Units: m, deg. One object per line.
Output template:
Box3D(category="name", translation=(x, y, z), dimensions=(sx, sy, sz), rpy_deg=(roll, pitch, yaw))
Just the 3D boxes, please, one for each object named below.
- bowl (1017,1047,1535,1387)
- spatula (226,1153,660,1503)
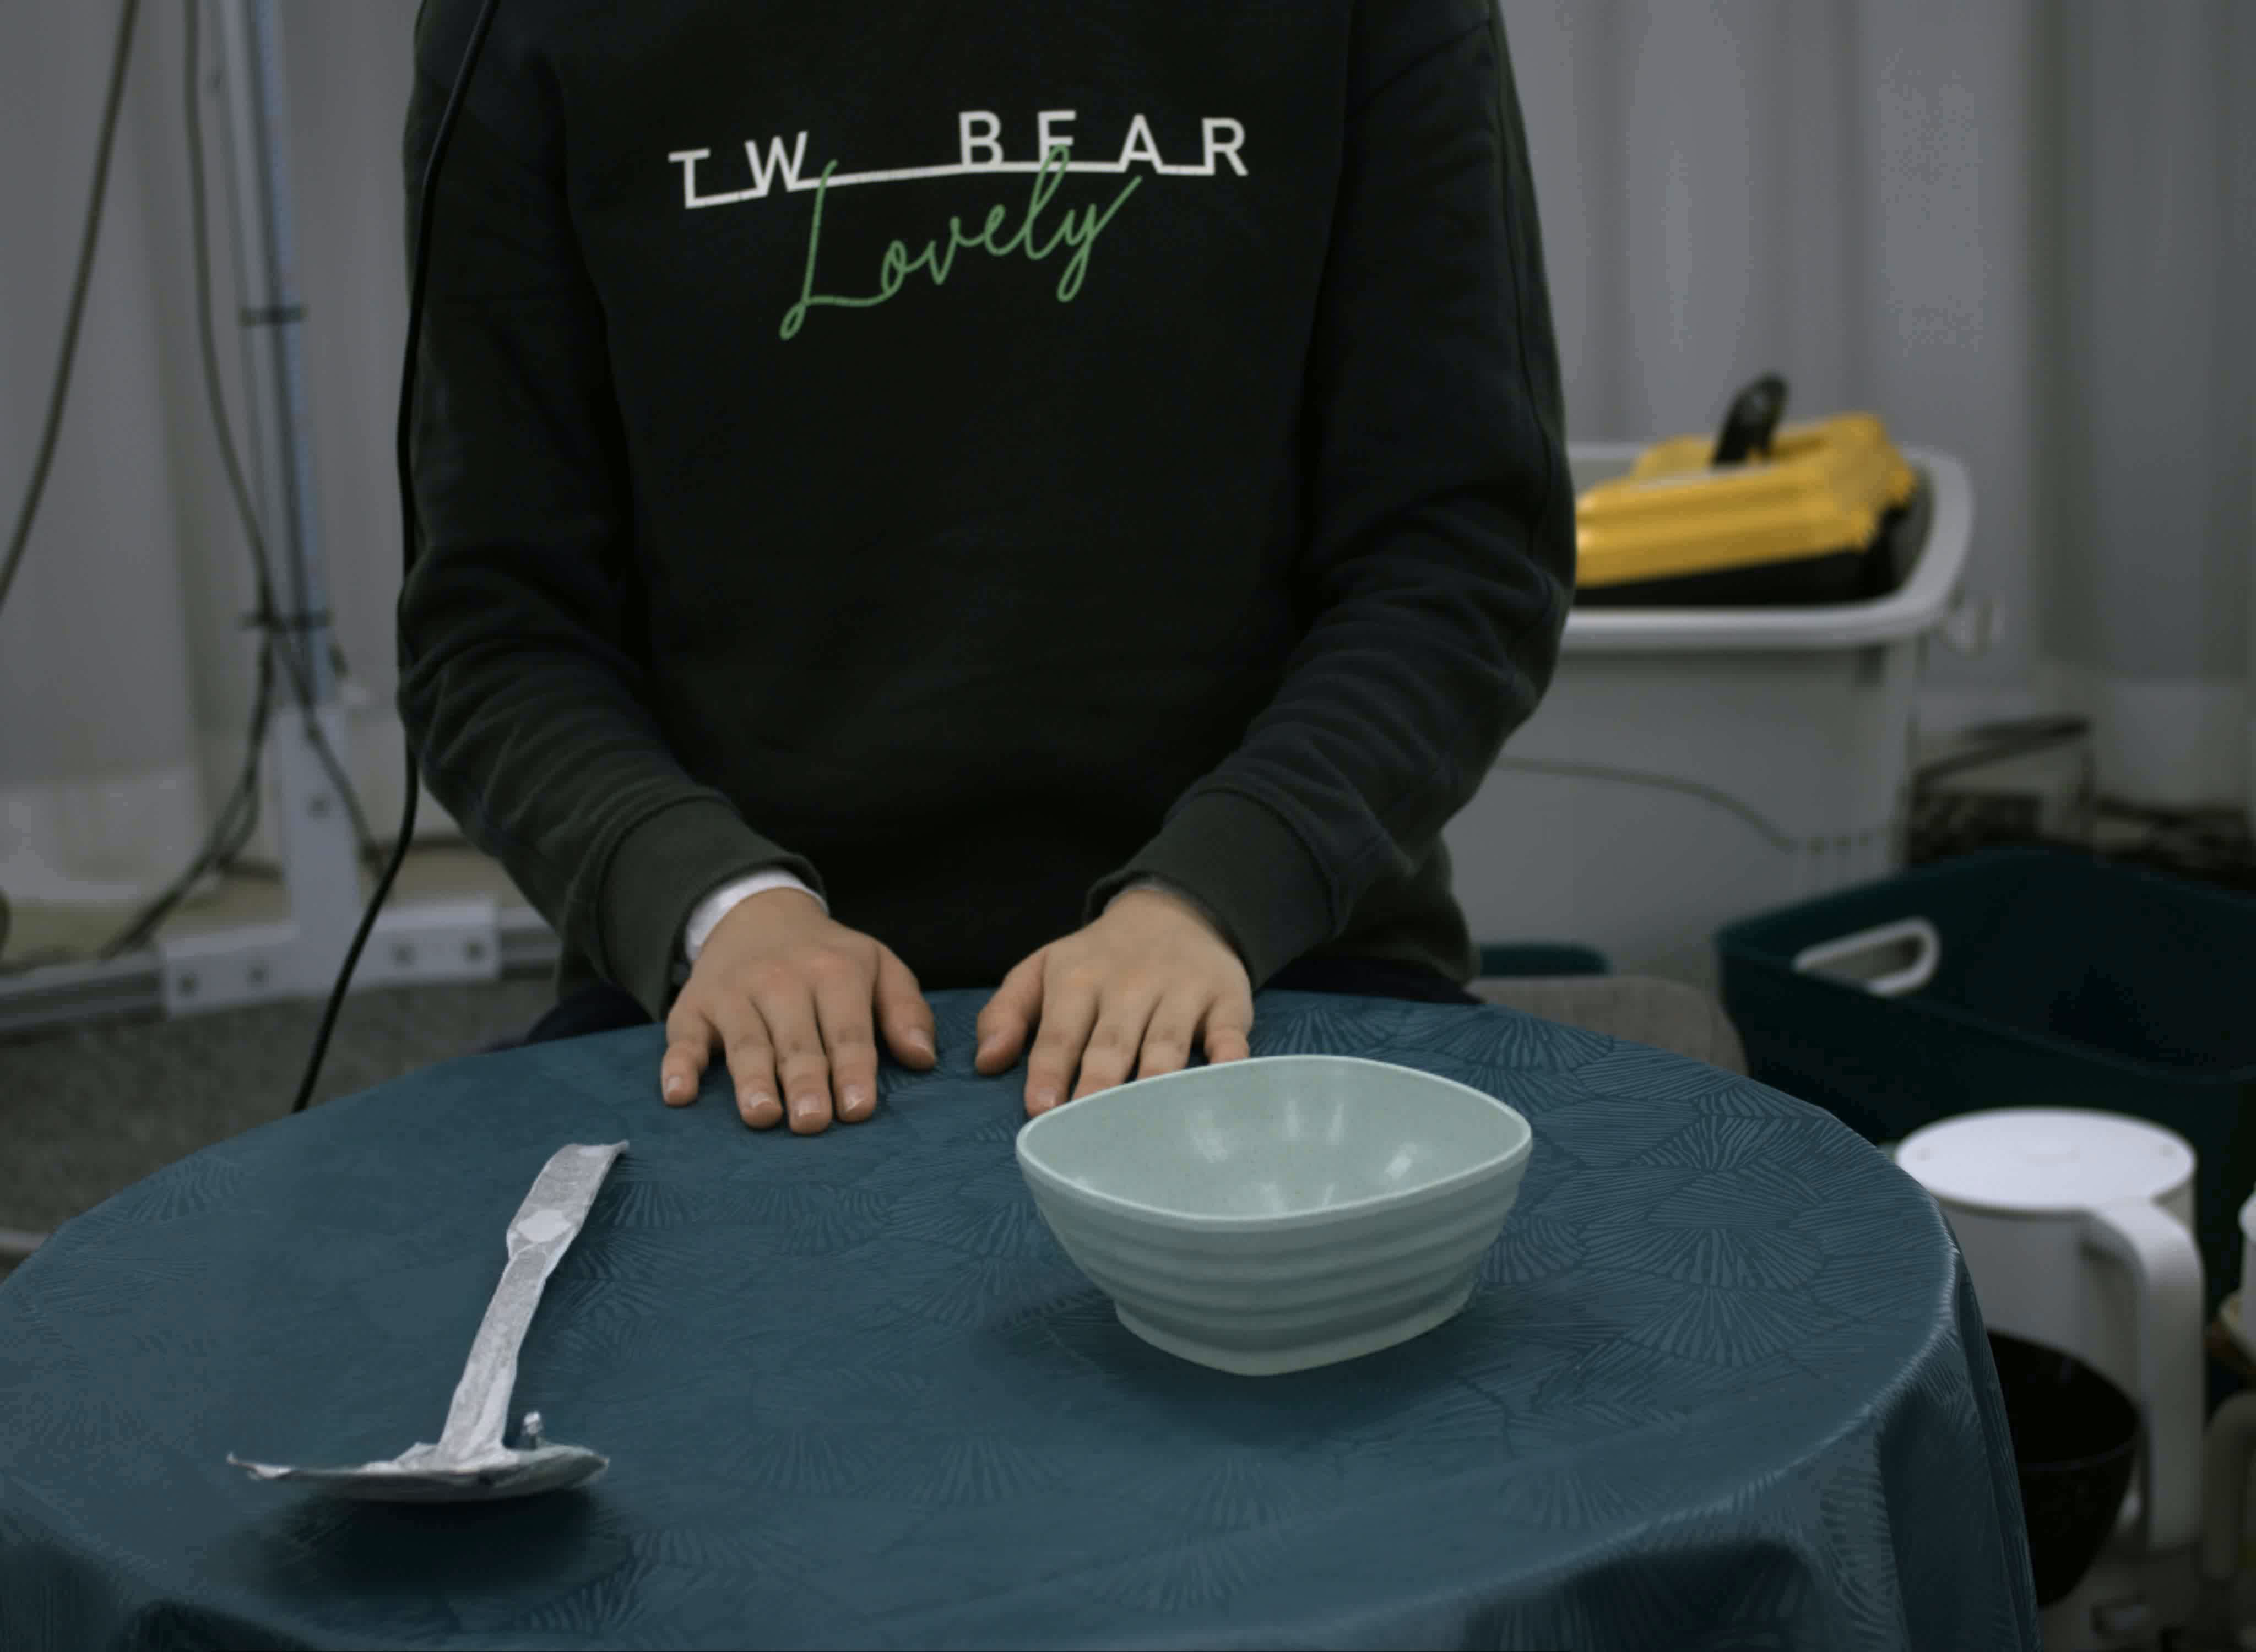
Box3D(category="bowl", translation=(0.044, 0.117, 1.591), dimensions=(0.151, 0.058, 0.152), rpy_deg=(-2, 17, 0))
Box3D(category="spatula", translation=(-0.176, 0.137, 1.589), dimensions=(0.098, 0.044, 0.367), rpy_deg=(-3, 15, 5))
